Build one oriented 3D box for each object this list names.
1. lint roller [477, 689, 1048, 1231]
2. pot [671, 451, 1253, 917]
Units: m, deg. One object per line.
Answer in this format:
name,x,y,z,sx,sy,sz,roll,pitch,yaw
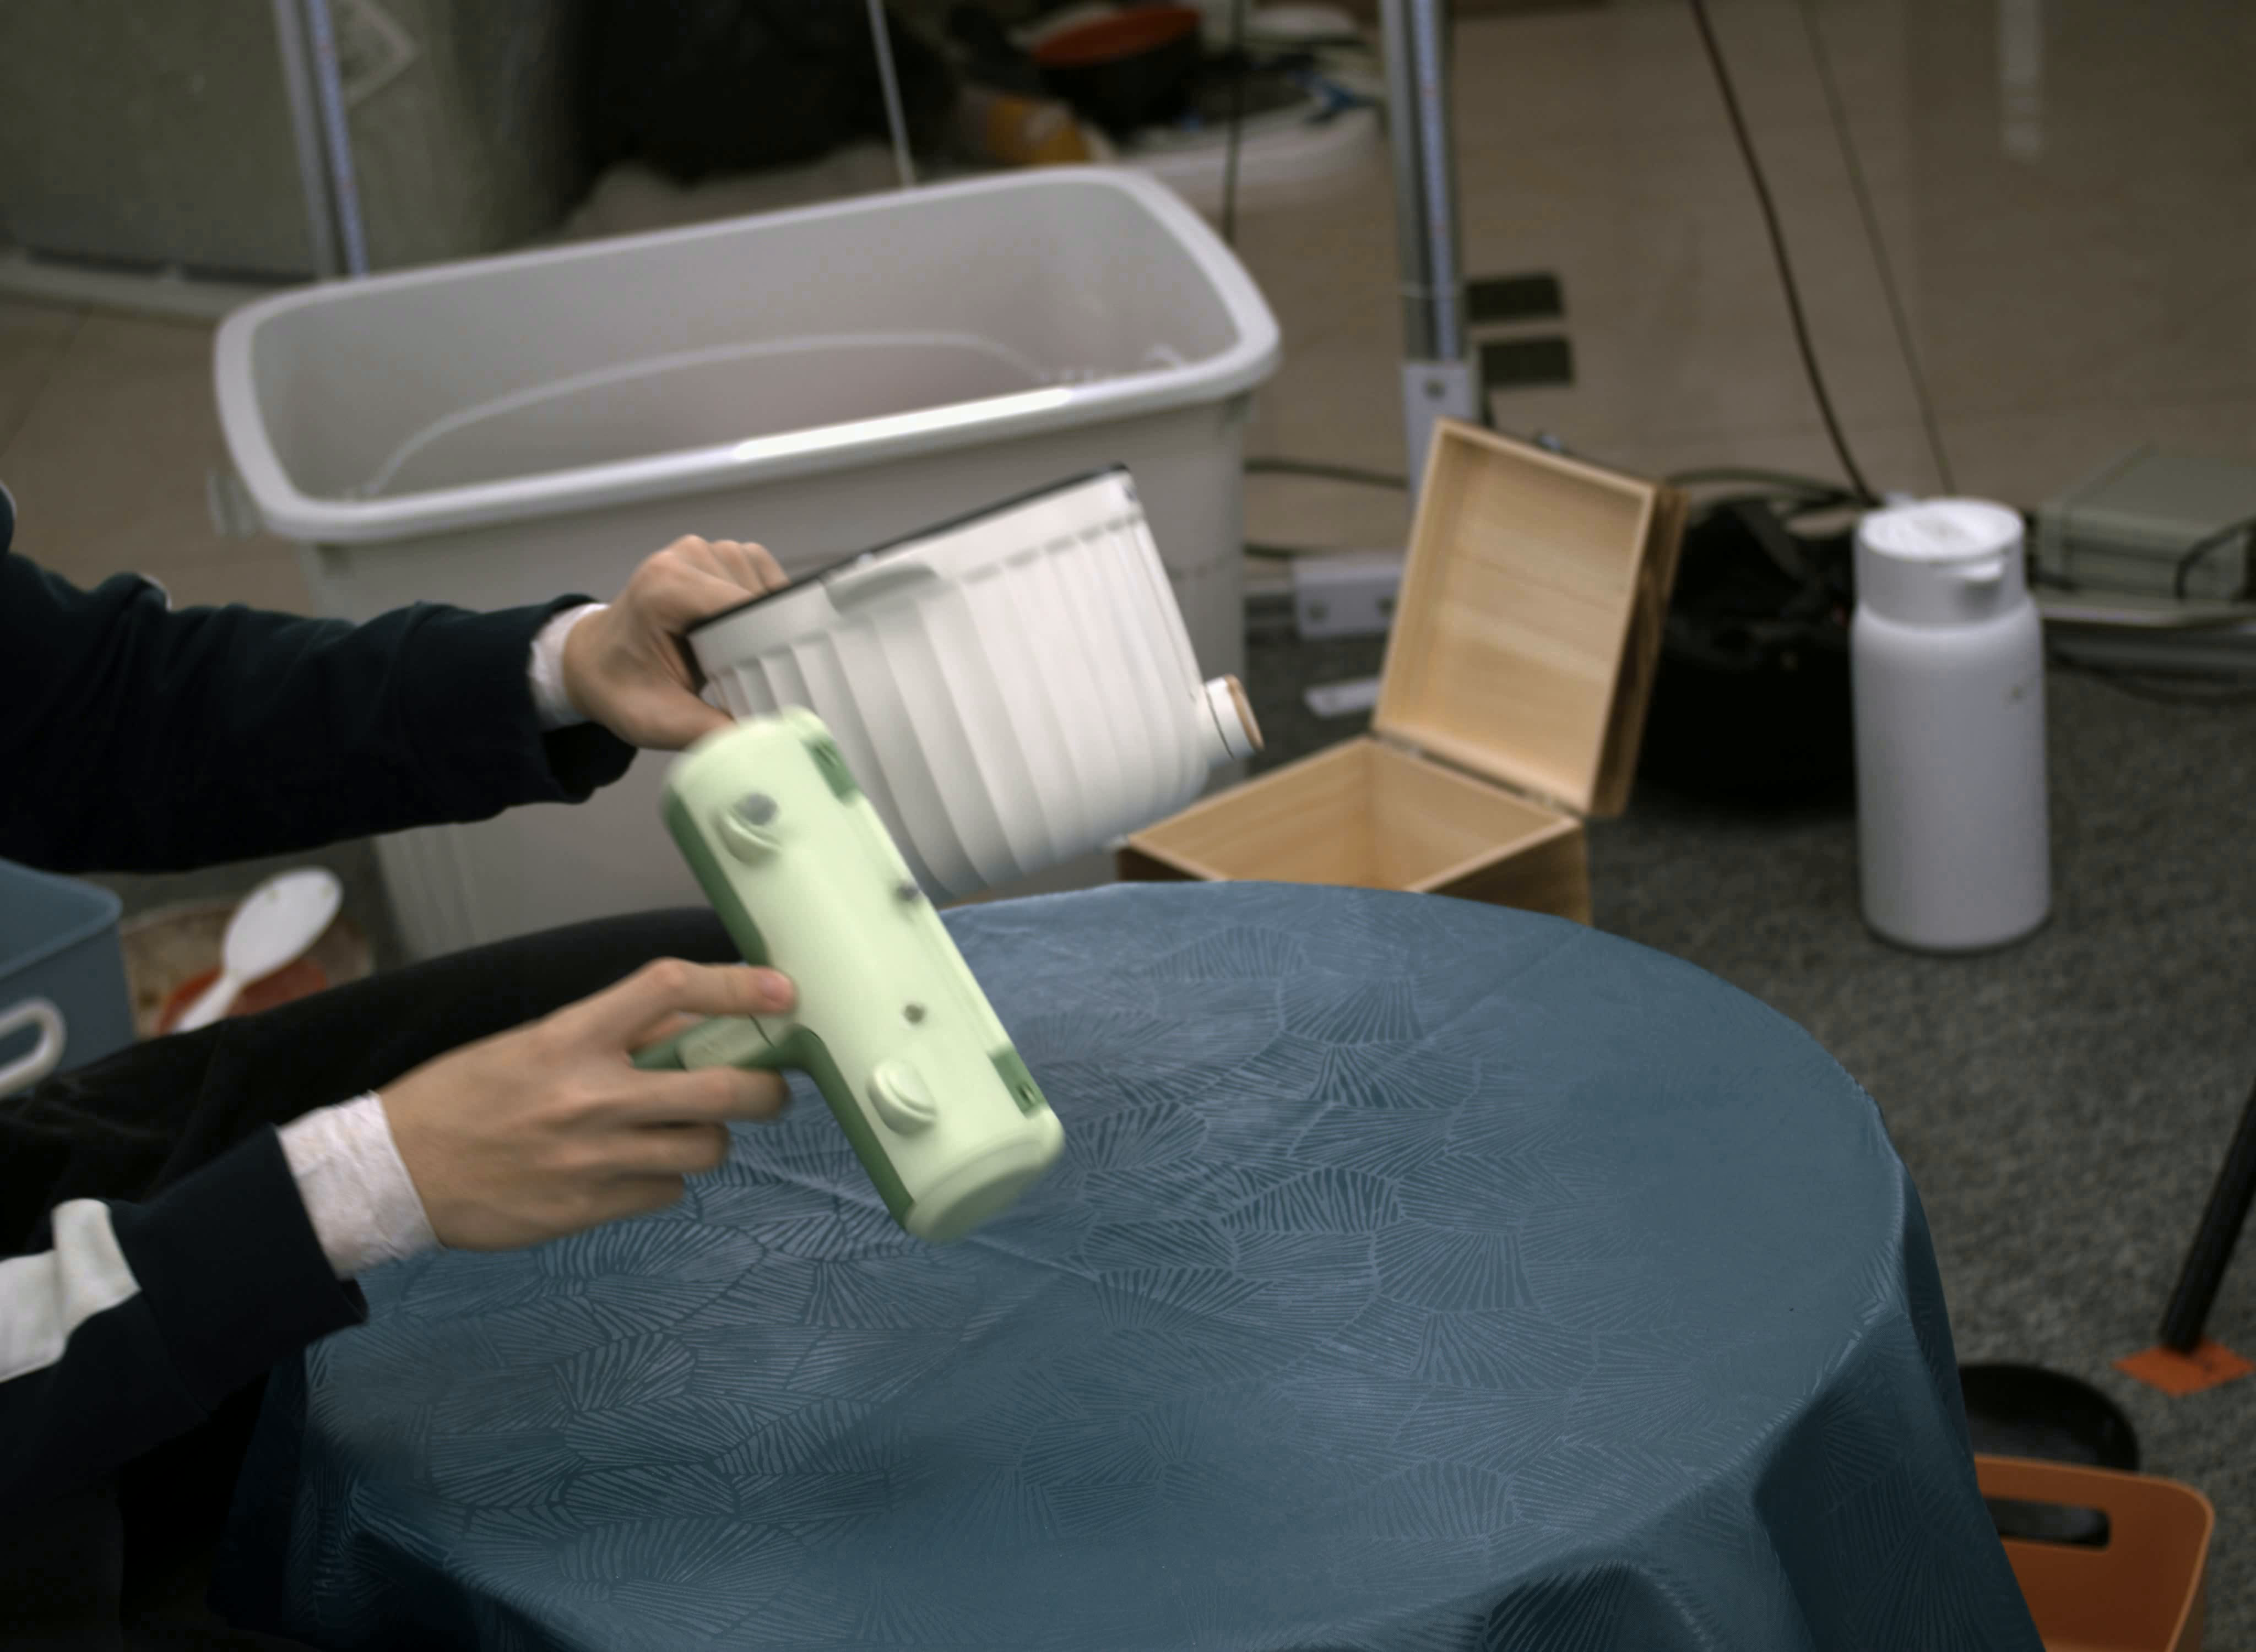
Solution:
lint roller,-0.152,0.073,1.983,0.183,0.197,0.083,-30,-13,-5
pot,-0.061,-0.049,2.164,0.190,0.143,0.240,-24,1,7
